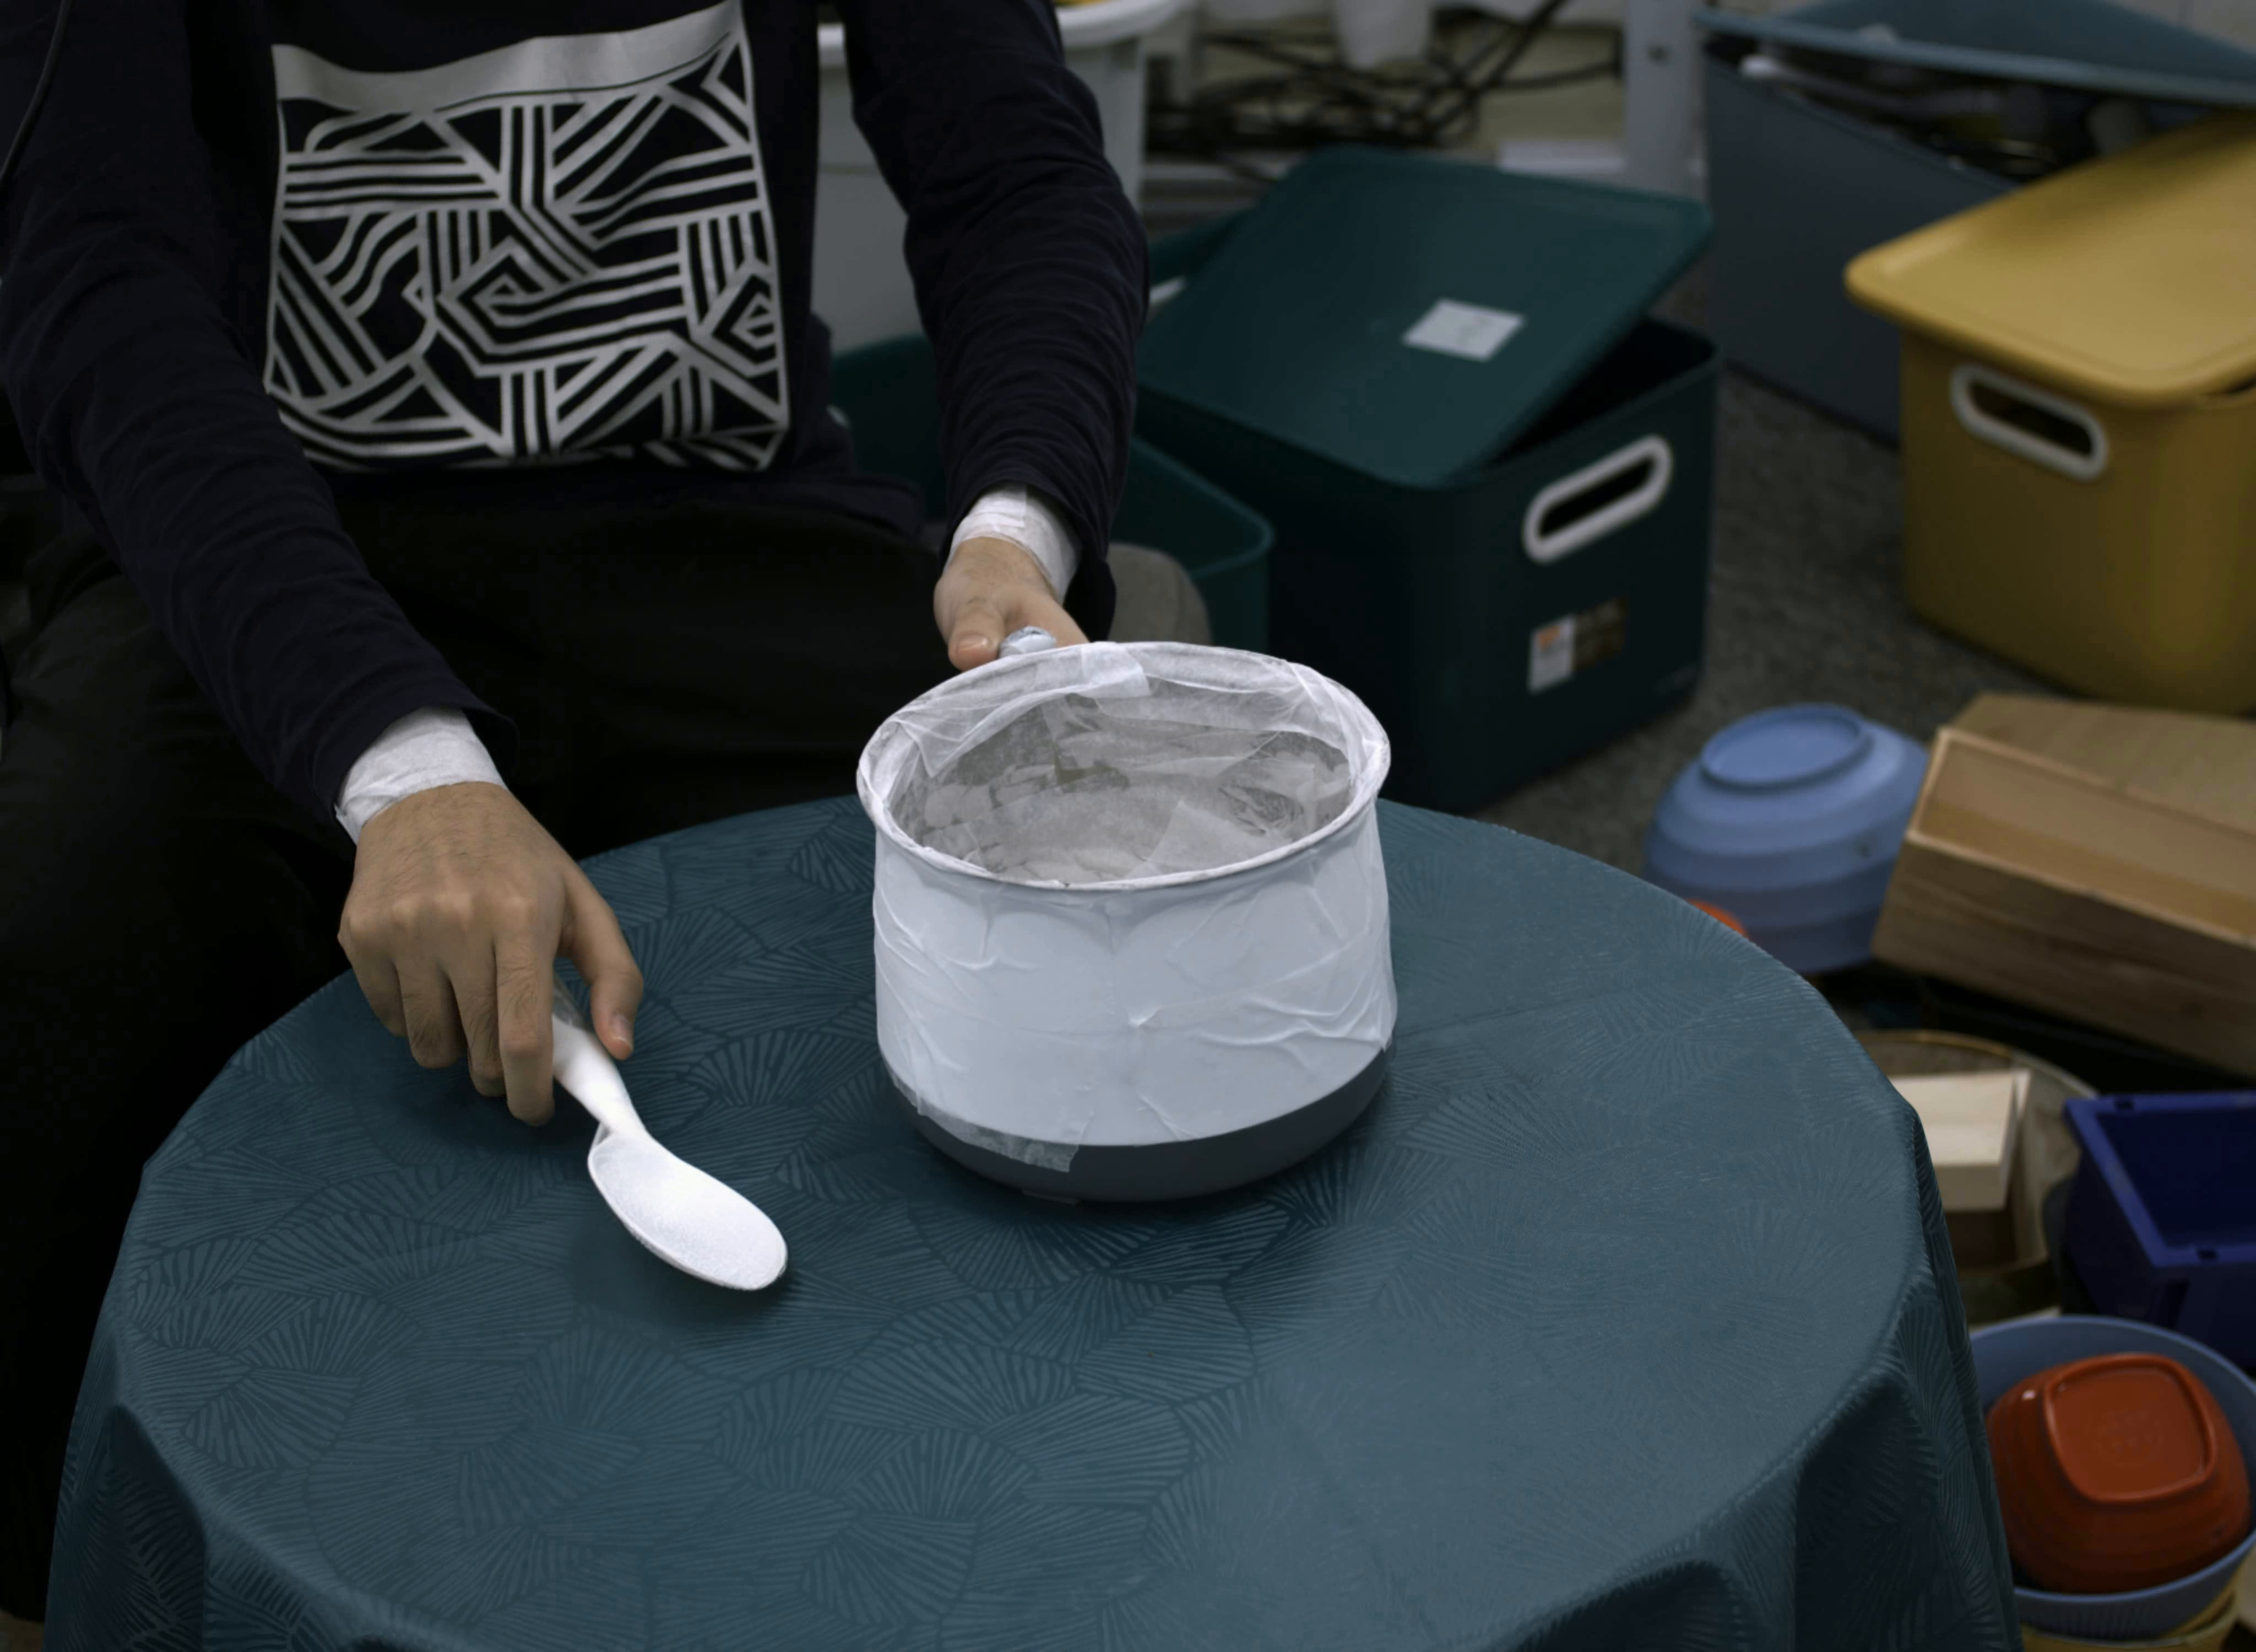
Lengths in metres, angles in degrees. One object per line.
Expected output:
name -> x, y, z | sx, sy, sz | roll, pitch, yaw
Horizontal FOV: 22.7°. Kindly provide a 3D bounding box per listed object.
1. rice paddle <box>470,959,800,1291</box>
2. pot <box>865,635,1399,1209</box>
rice paddle -> -0.167, 0.102, 1.871 | 0.069, 0.029, 0.206 | 16, 16, -35
pot -> -0.007, 0.025, 1.909 | 0.179, 0.135, 0.235 | -10, 26, -17
